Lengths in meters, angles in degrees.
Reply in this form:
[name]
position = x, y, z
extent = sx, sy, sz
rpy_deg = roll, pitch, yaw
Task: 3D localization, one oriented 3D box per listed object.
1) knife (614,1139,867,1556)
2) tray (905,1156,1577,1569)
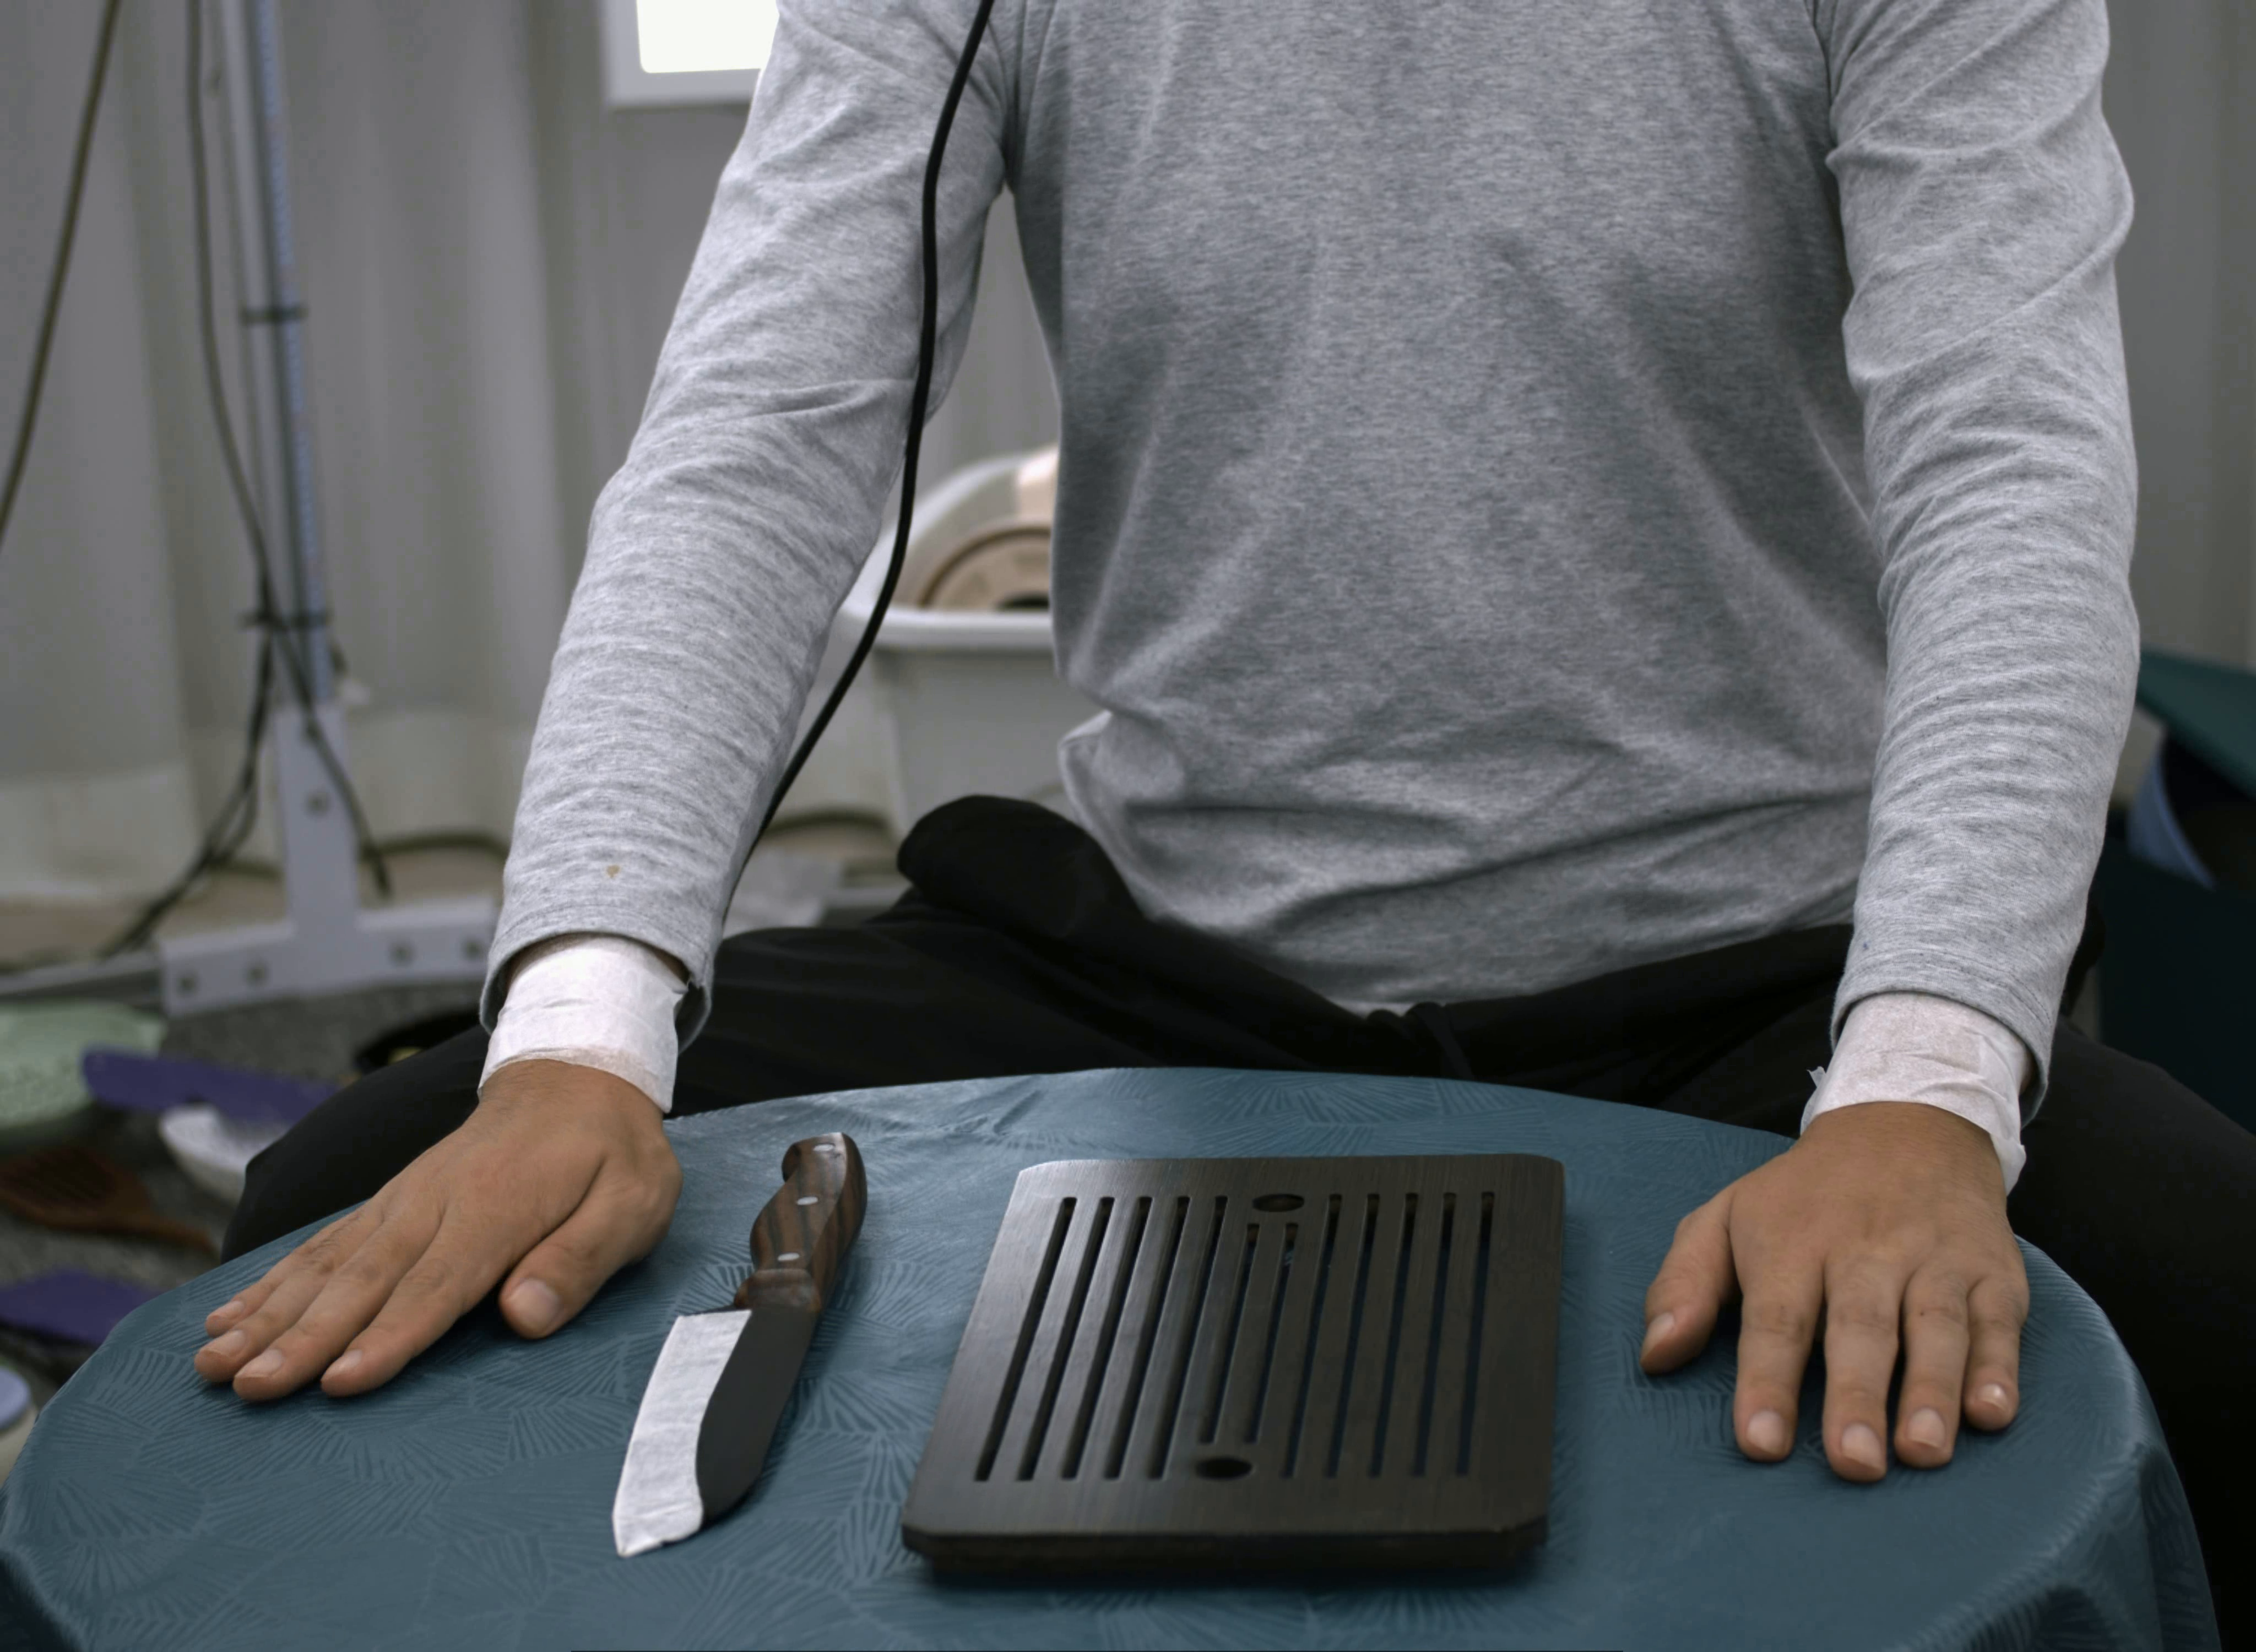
[knife]
position = -0.110, 0.149, 1.579
extent = 0.050, 0.020, 0.291
rpy_deg = -5, 17, 9
[tray]
position = 0.040, 0.149, 1.546
extent = 0.170, 0.018, 0.307
rpy_deg = -1, 14, 6
